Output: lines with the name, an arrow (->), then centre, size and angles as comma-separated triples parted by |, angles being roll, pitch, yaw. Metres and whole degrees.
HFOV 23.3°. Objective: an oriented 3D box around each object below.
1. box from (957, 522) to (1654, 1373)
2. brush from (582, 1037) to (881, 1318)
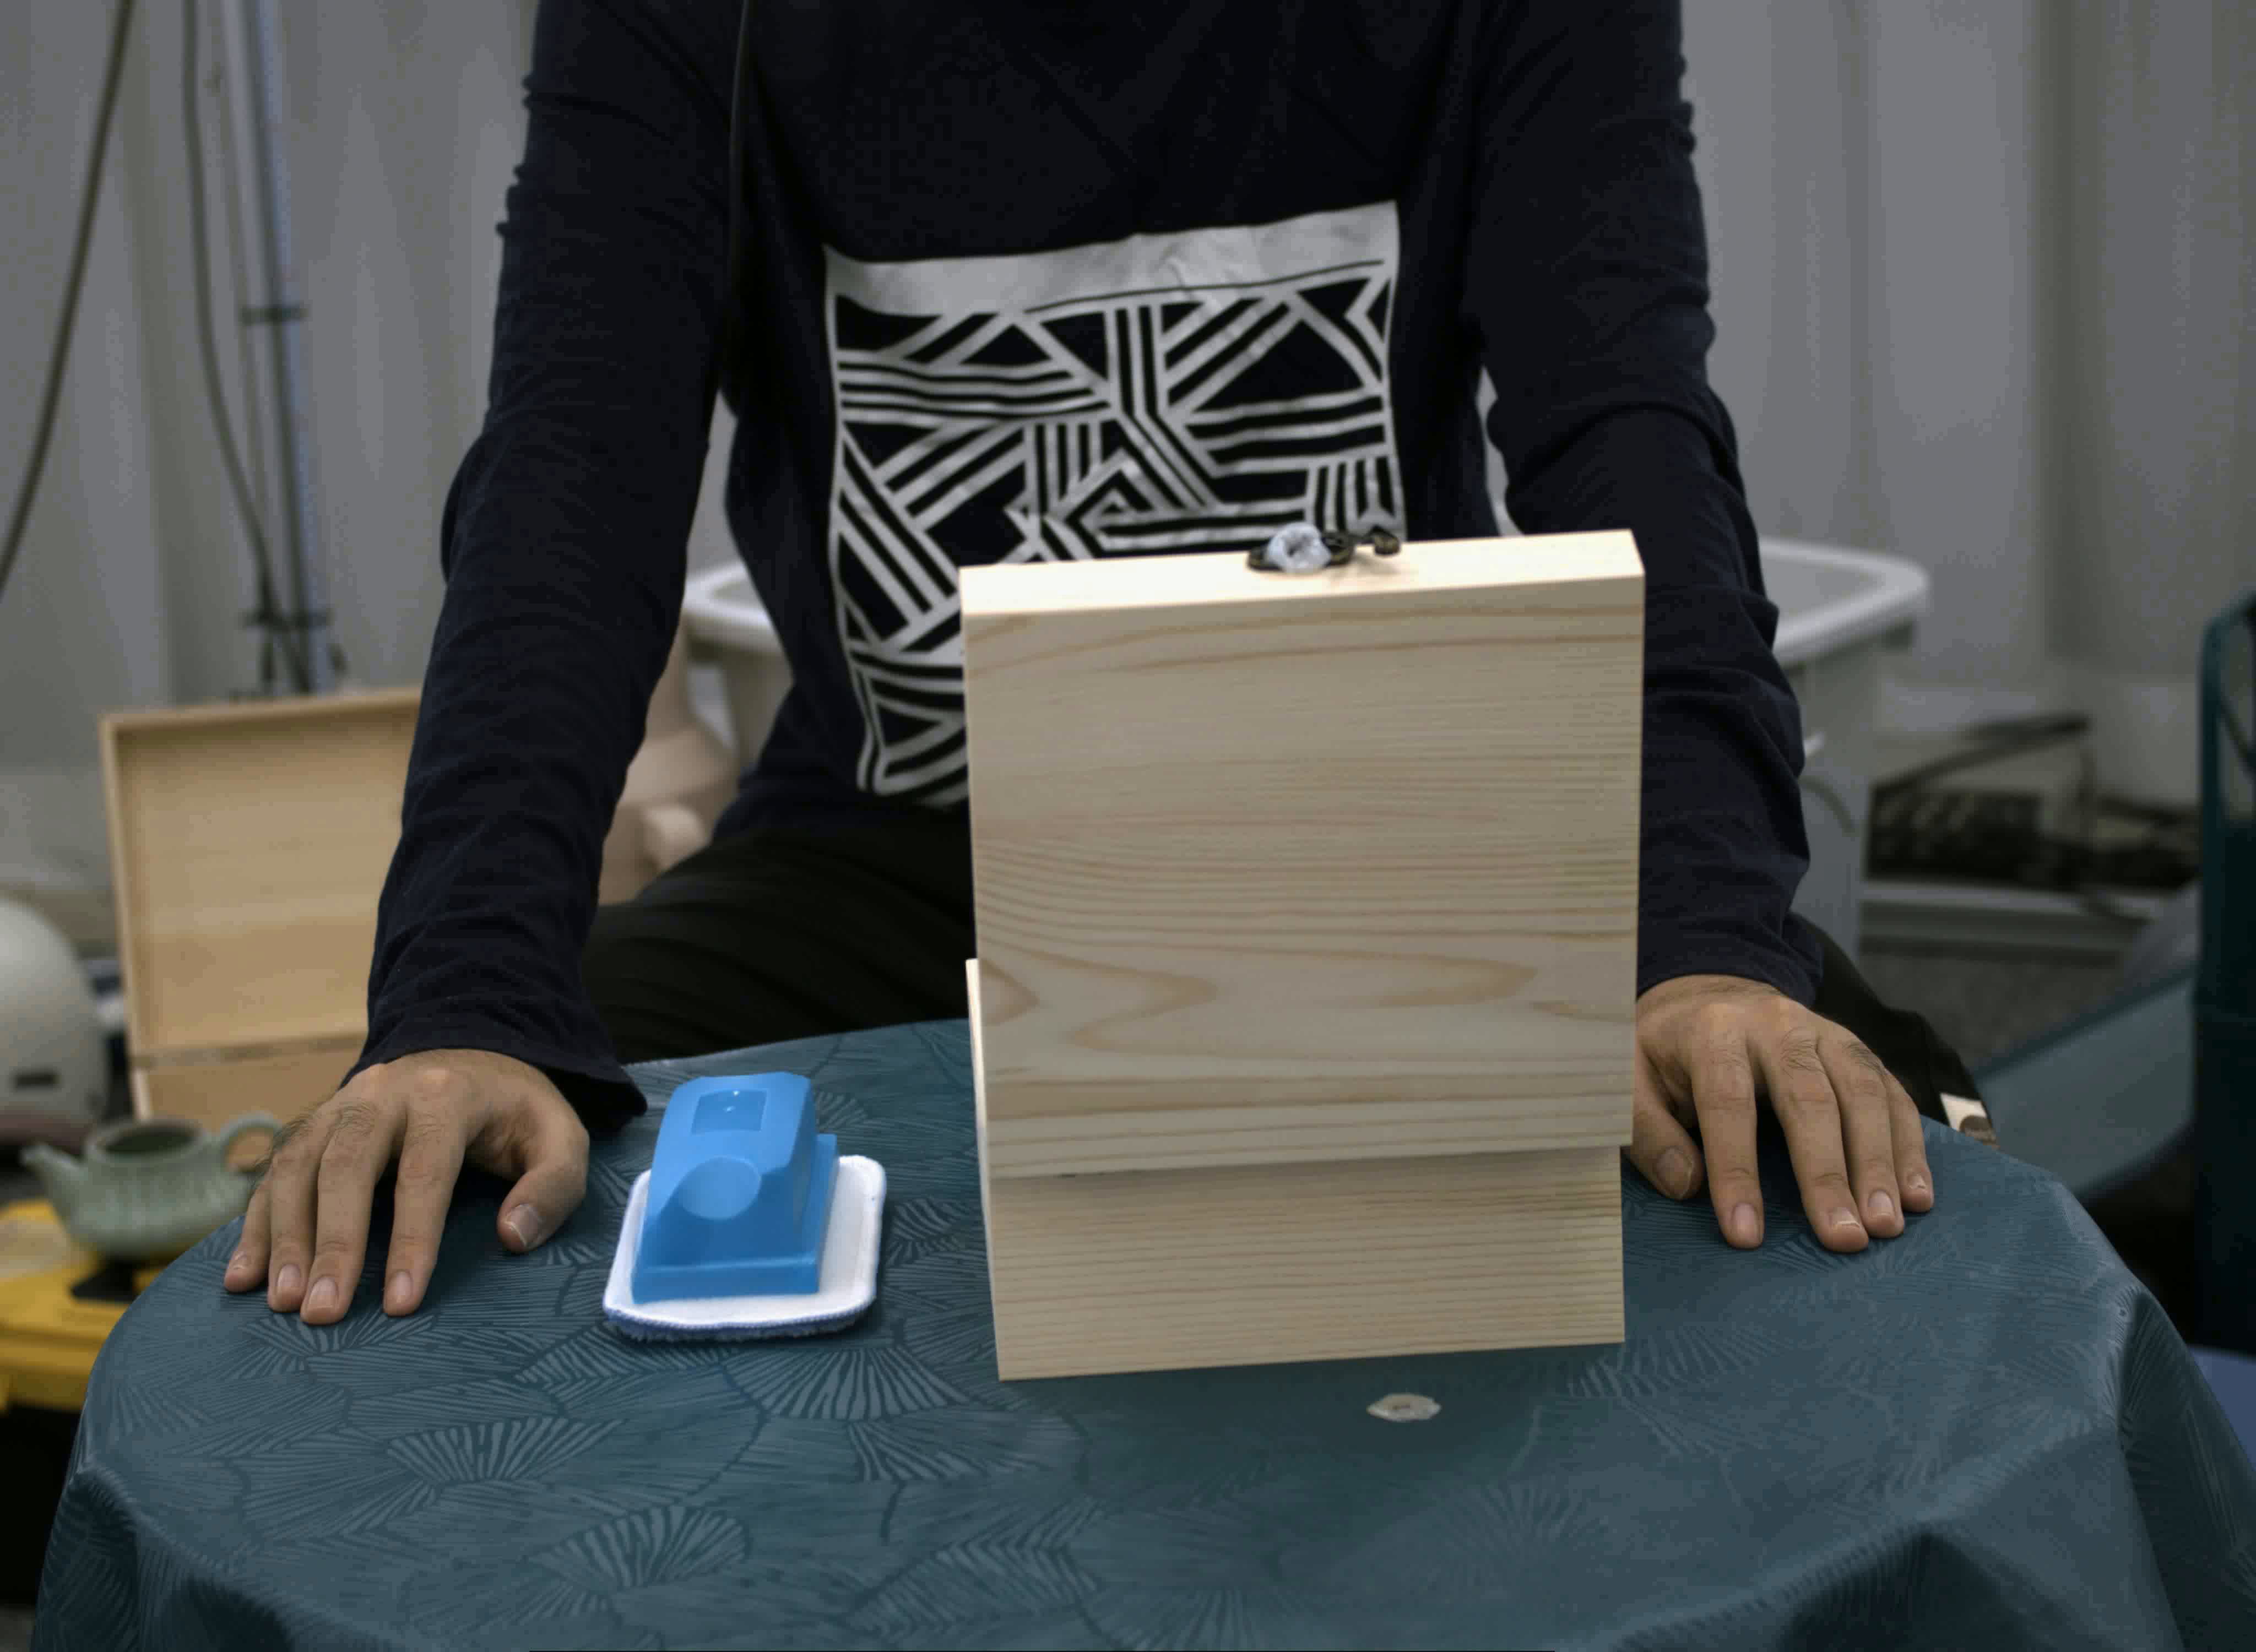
box -> 0.043, 0.018, 1.584 | 0.181, 0.252, 0.267 | -3, 14, -4
brush -> -0.120, 0.104, 1.663 | 0.083, 0.055, 0.145 | 1, 17, 1
